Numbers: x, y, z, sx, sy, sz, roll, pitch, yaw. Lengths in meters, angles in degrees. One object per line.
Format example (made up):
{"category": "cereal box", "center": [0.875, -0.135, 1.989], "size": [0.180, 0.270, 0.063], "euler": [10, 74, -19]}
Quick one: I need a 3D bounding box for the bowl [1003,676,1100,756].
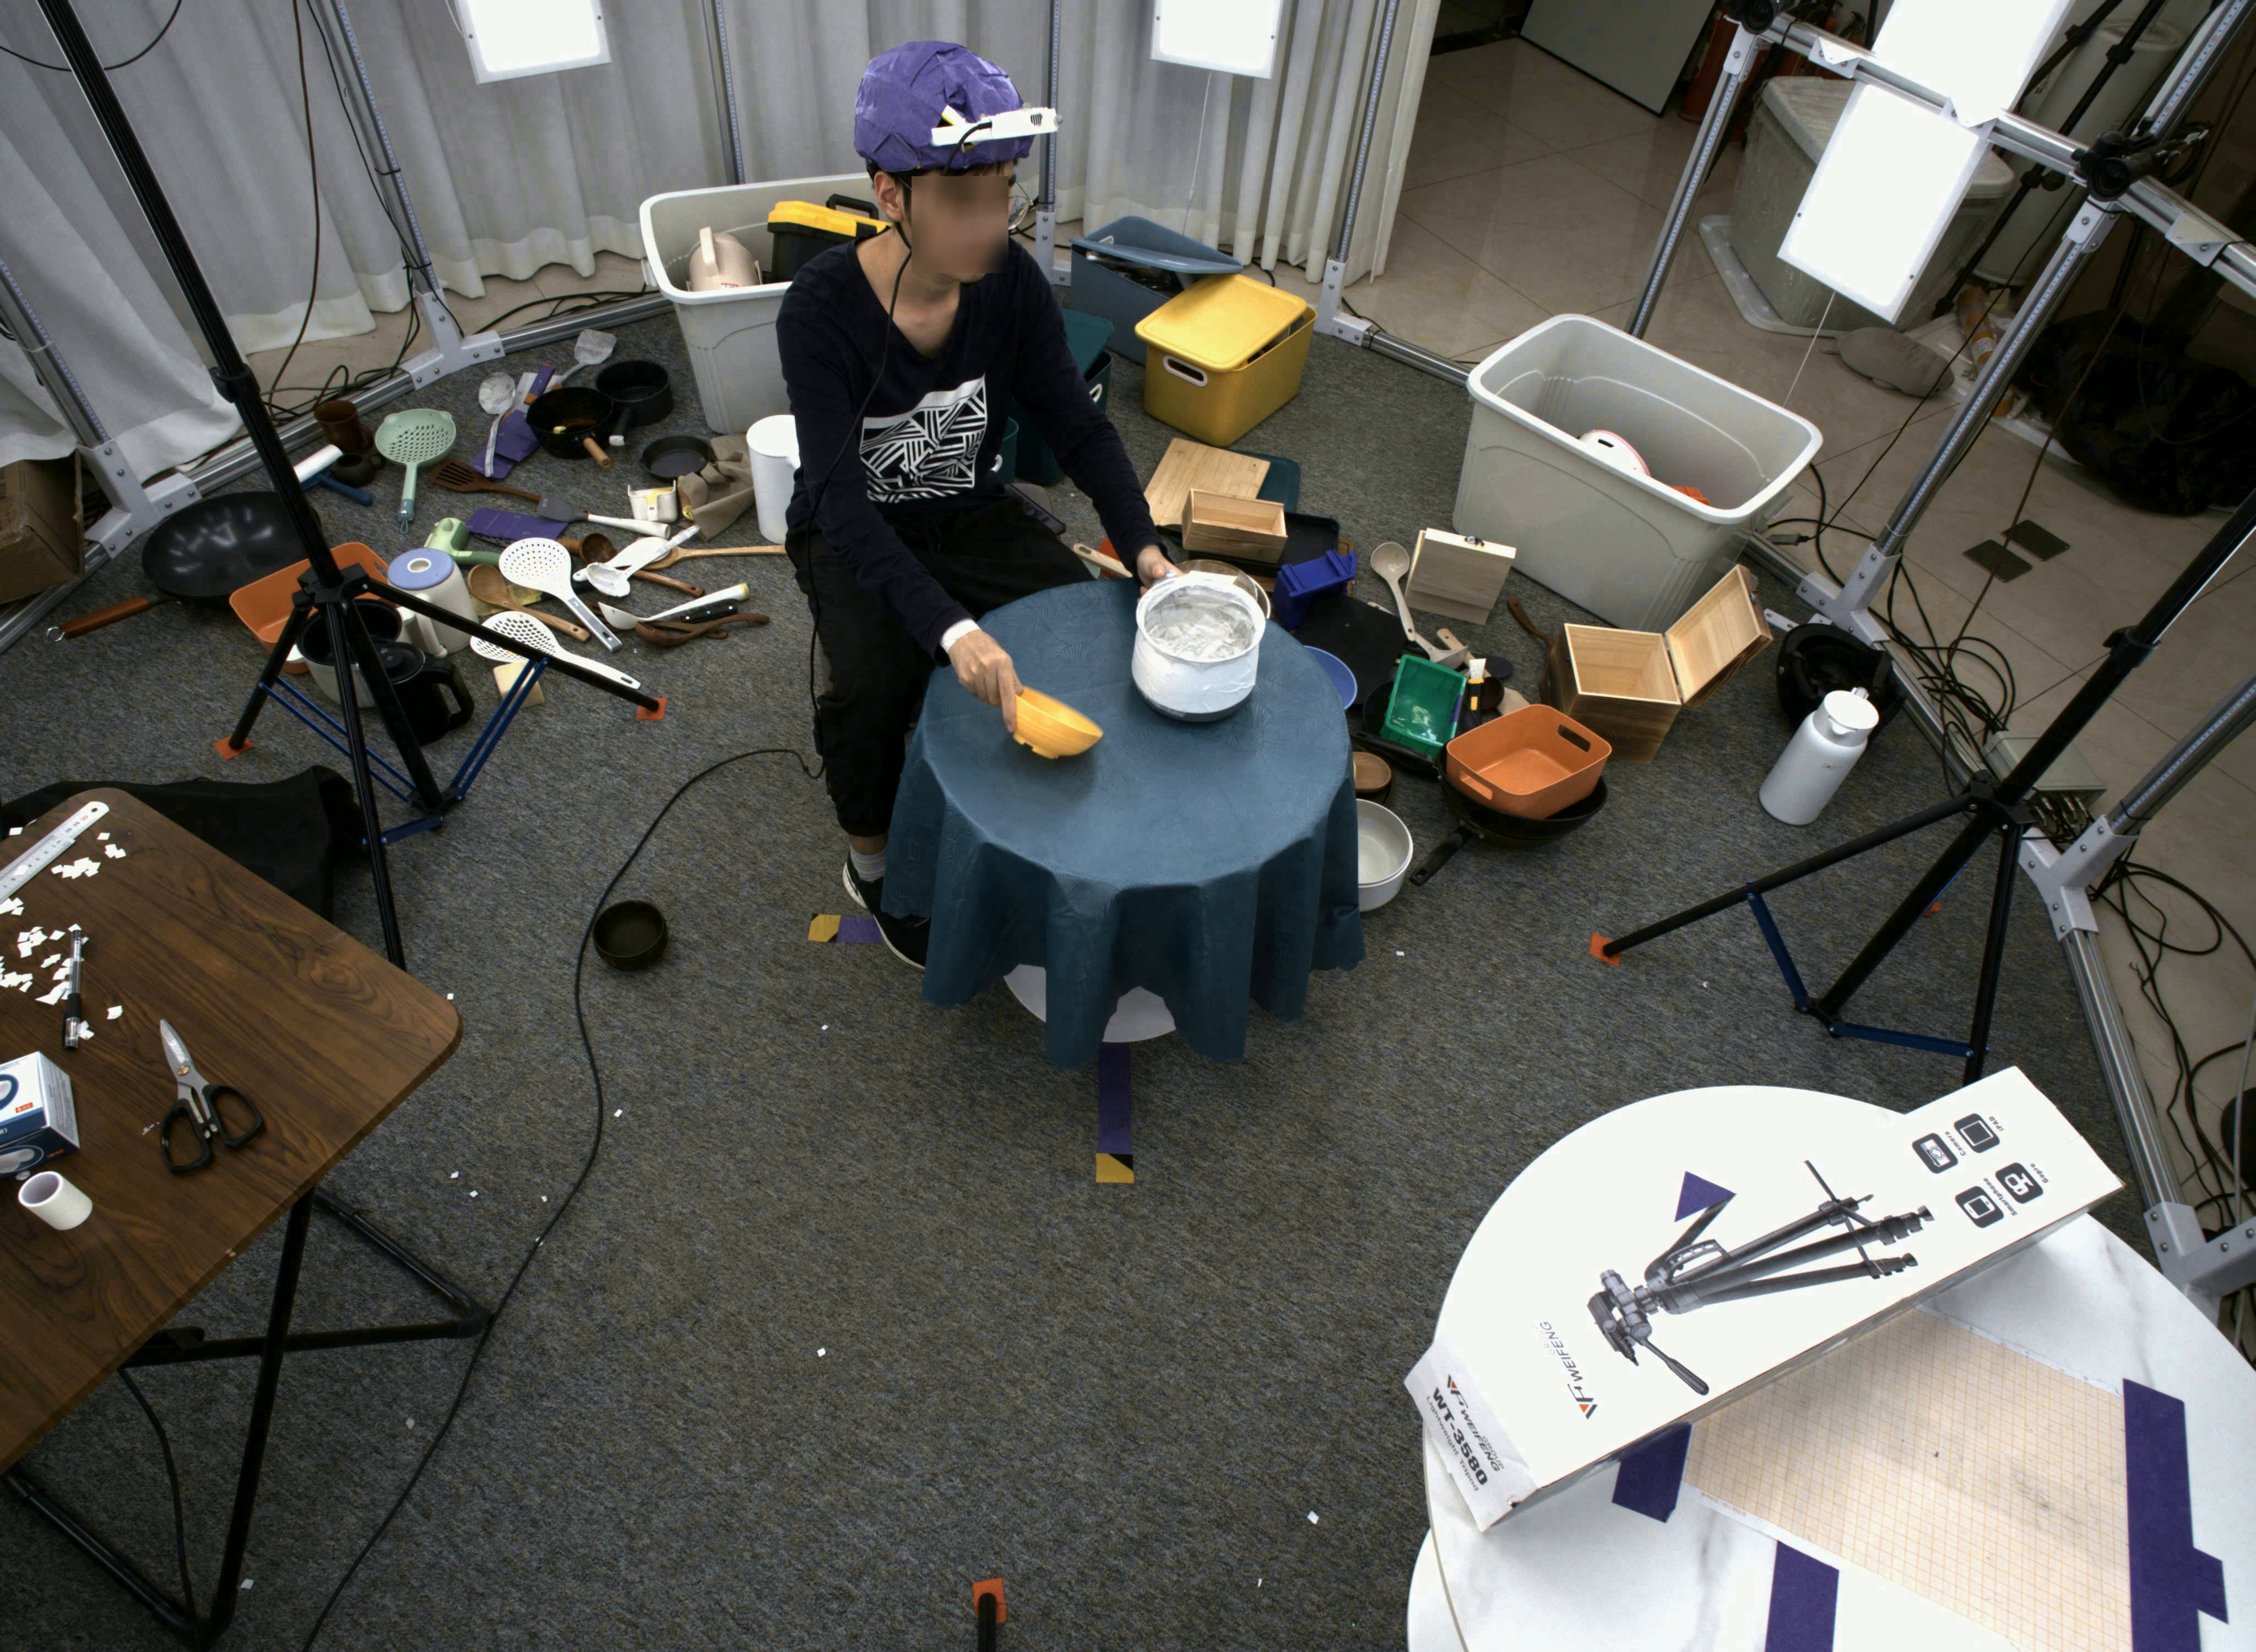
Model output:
{"category": "bowl", "center": [-0.113, -0.136, 1.710], "size": [0.144, 0.060, 0.147], "euler": [32, 12, -7]}

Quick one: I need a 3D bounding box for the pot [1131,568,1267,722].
{"category": "pot", "center": [0.084, -0.265, 1.813], "size": [0.179, 0.133, 0.239], "euler": [-15, 53, -20]}
